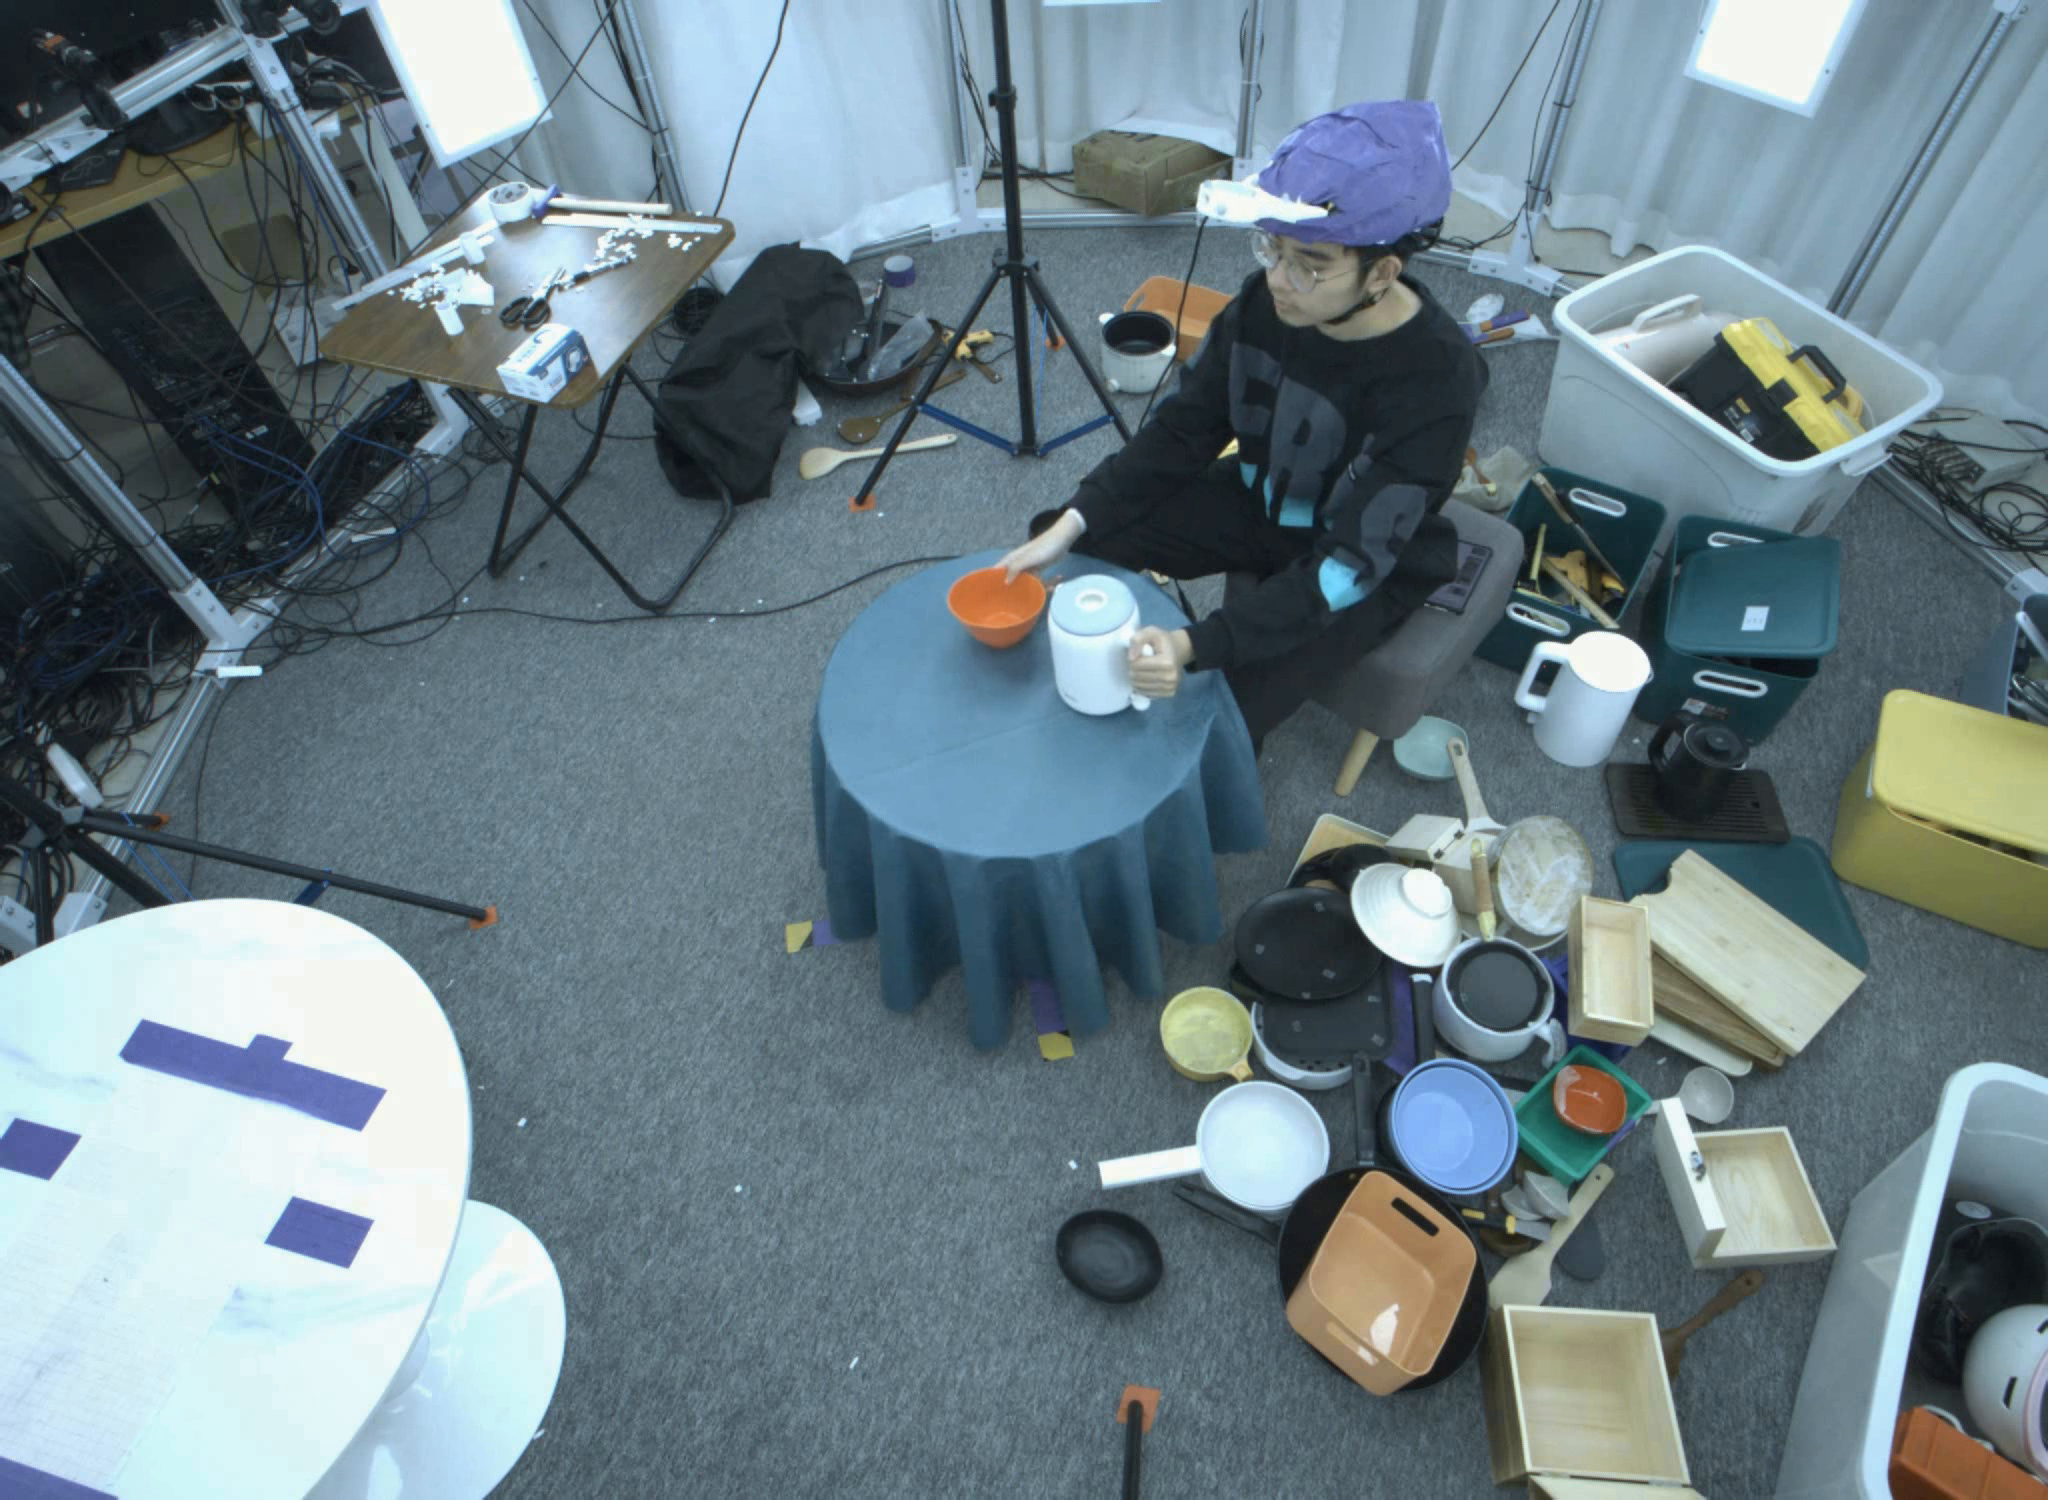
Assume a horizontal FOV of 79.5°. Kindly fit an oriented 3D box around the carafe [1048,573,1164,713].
[{"bbox_3d":[0.122,-0.141,1.767,0.187,0.185,0.133,34,64,26],"label":"carafe"}]

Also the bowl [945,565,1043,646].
[{"bbox_3d":[-0.042,-0.207,1.869,0.148,0.106,0.146,-1,55,3],"label":"bowl"}]
